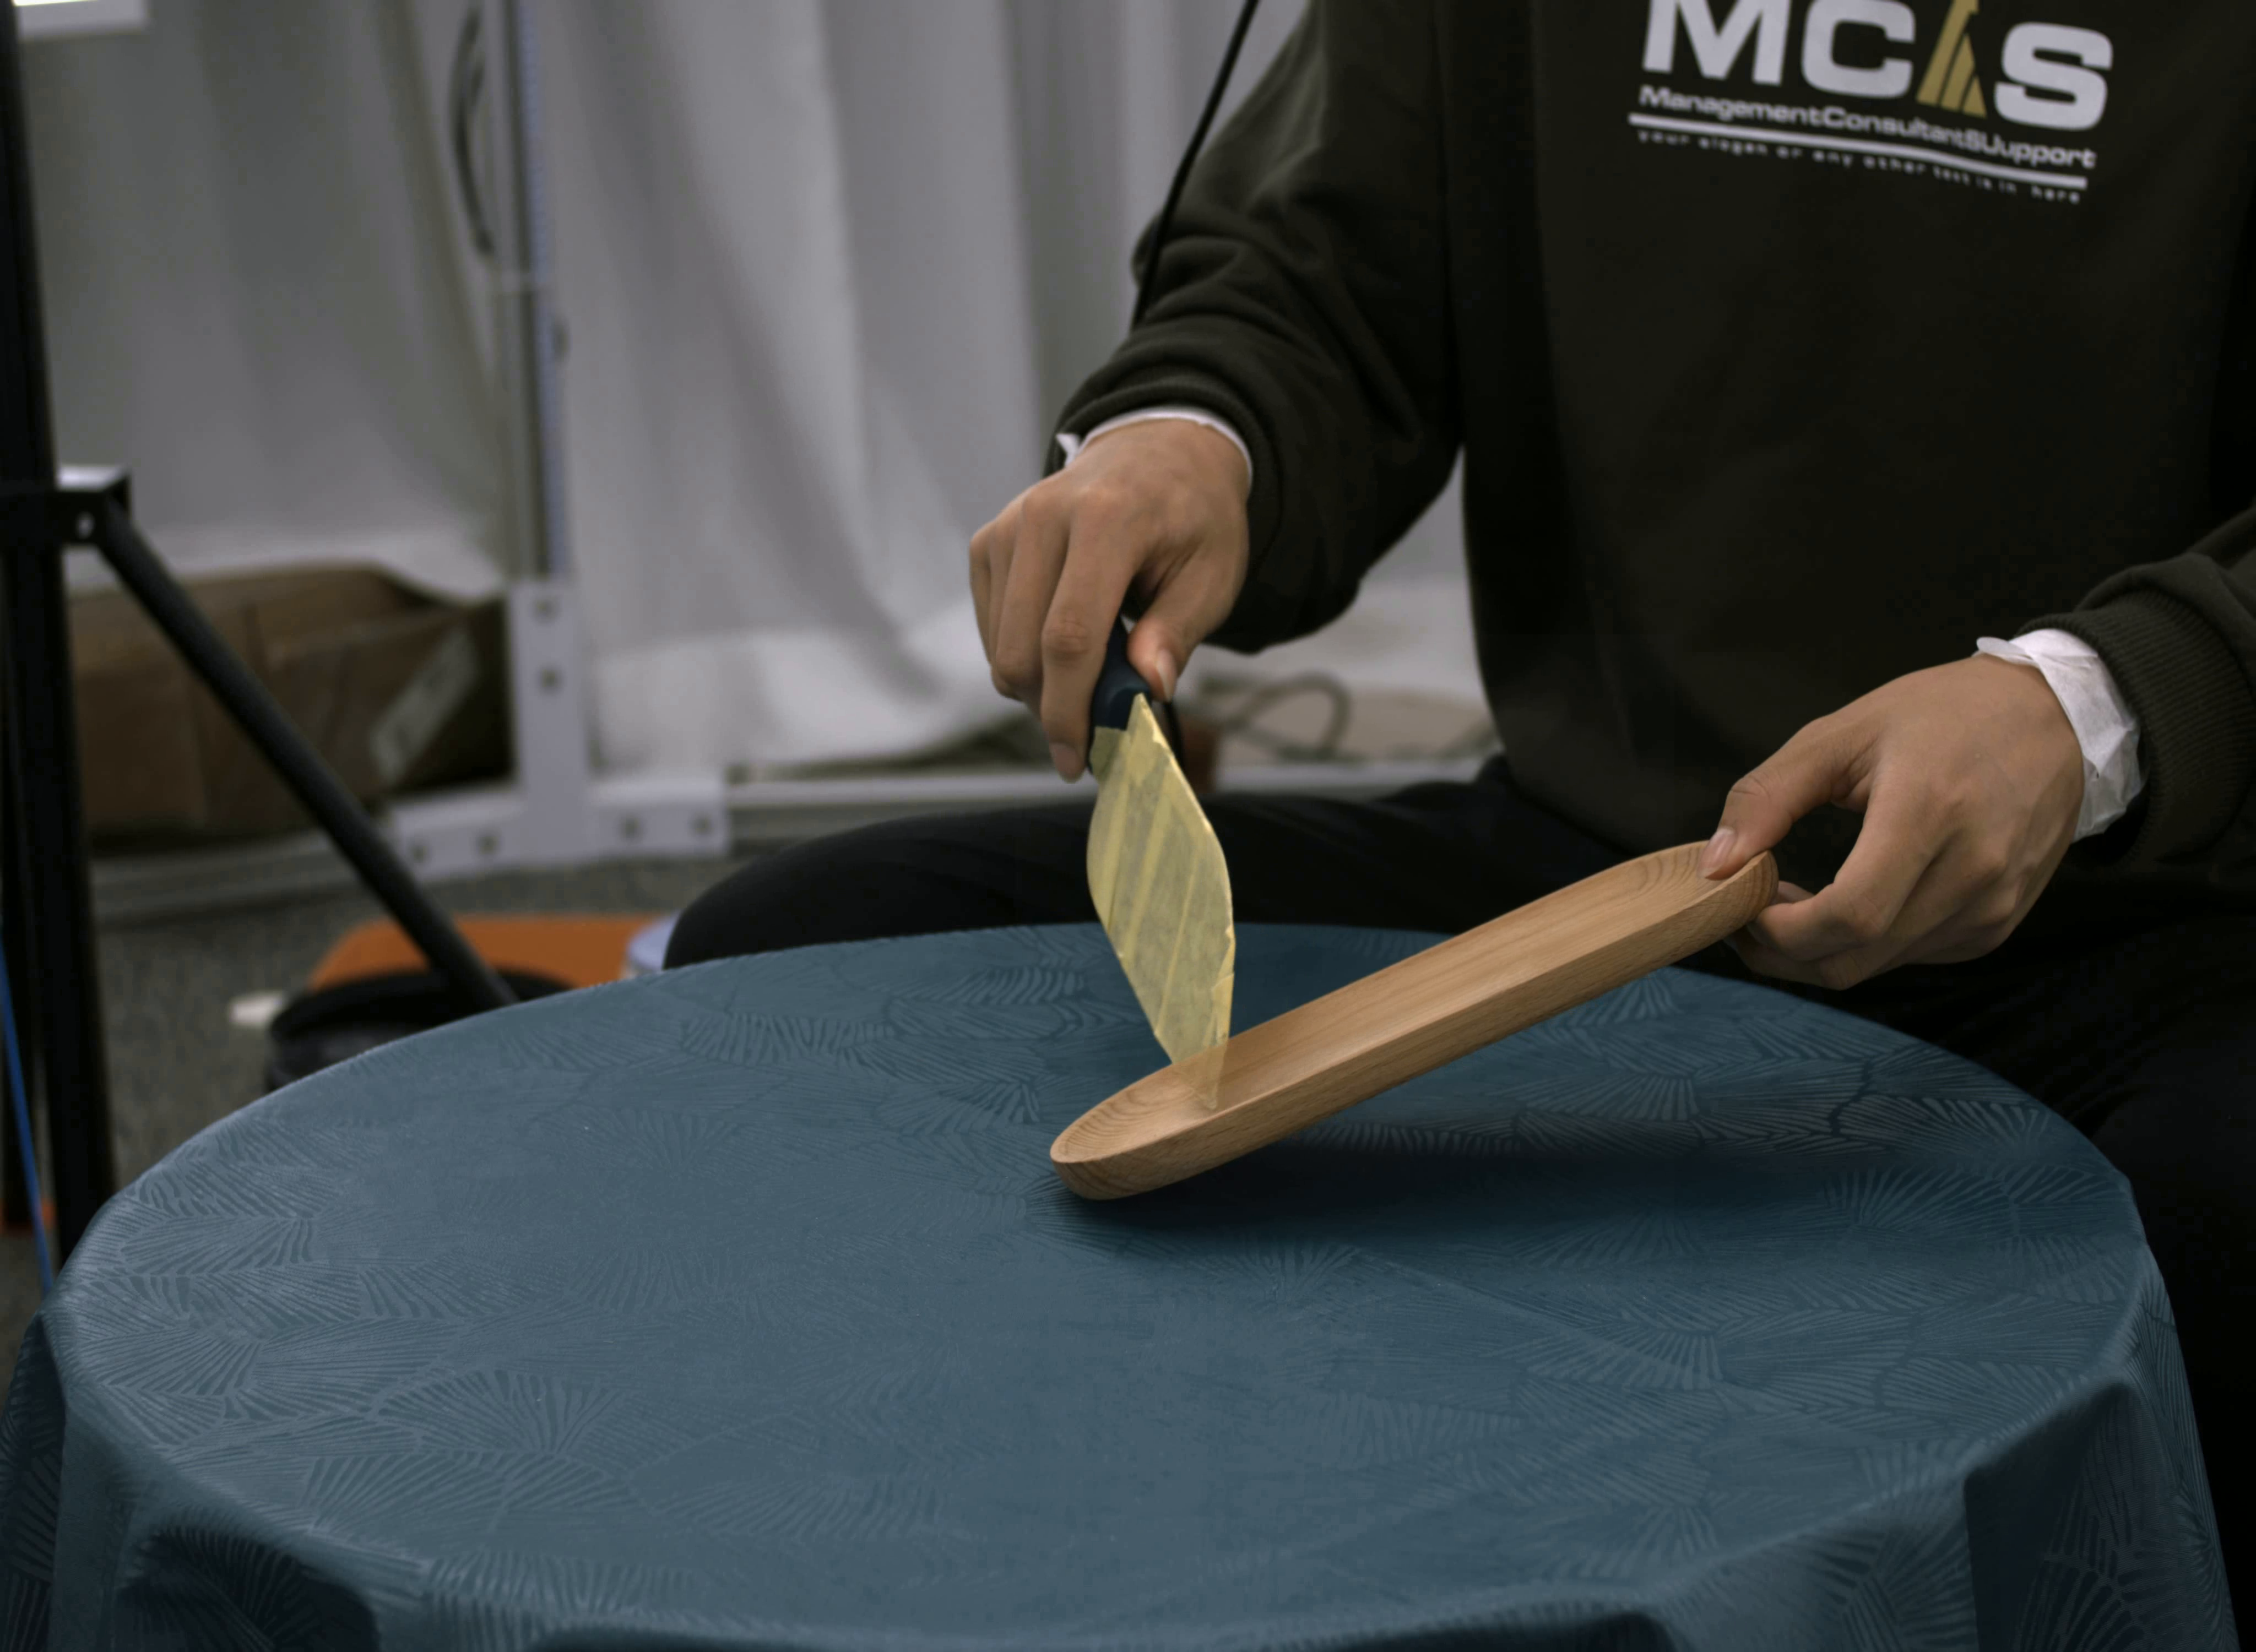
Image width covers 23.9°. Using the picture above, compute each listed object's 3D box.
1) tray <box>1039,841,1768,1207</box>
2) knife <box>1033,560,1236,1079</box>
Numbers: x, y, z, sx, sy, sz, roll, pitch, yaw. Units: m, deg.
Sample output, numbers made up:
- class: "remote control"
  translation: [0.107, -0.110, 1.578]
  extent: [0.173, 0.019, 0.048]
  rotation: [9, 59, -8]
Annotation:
- class: "tray"
  translation: [0.082, 0.059, 1.559]
  extent: [0.230, 0.020, 0.102]
  rotation: [-25, 7, -2]
- class: "knife"
  translation: [0.001, -0.007, 1.670]
  extent: [0.027, 0.081, 0.293]
  rotation: [9, 26, -16]
